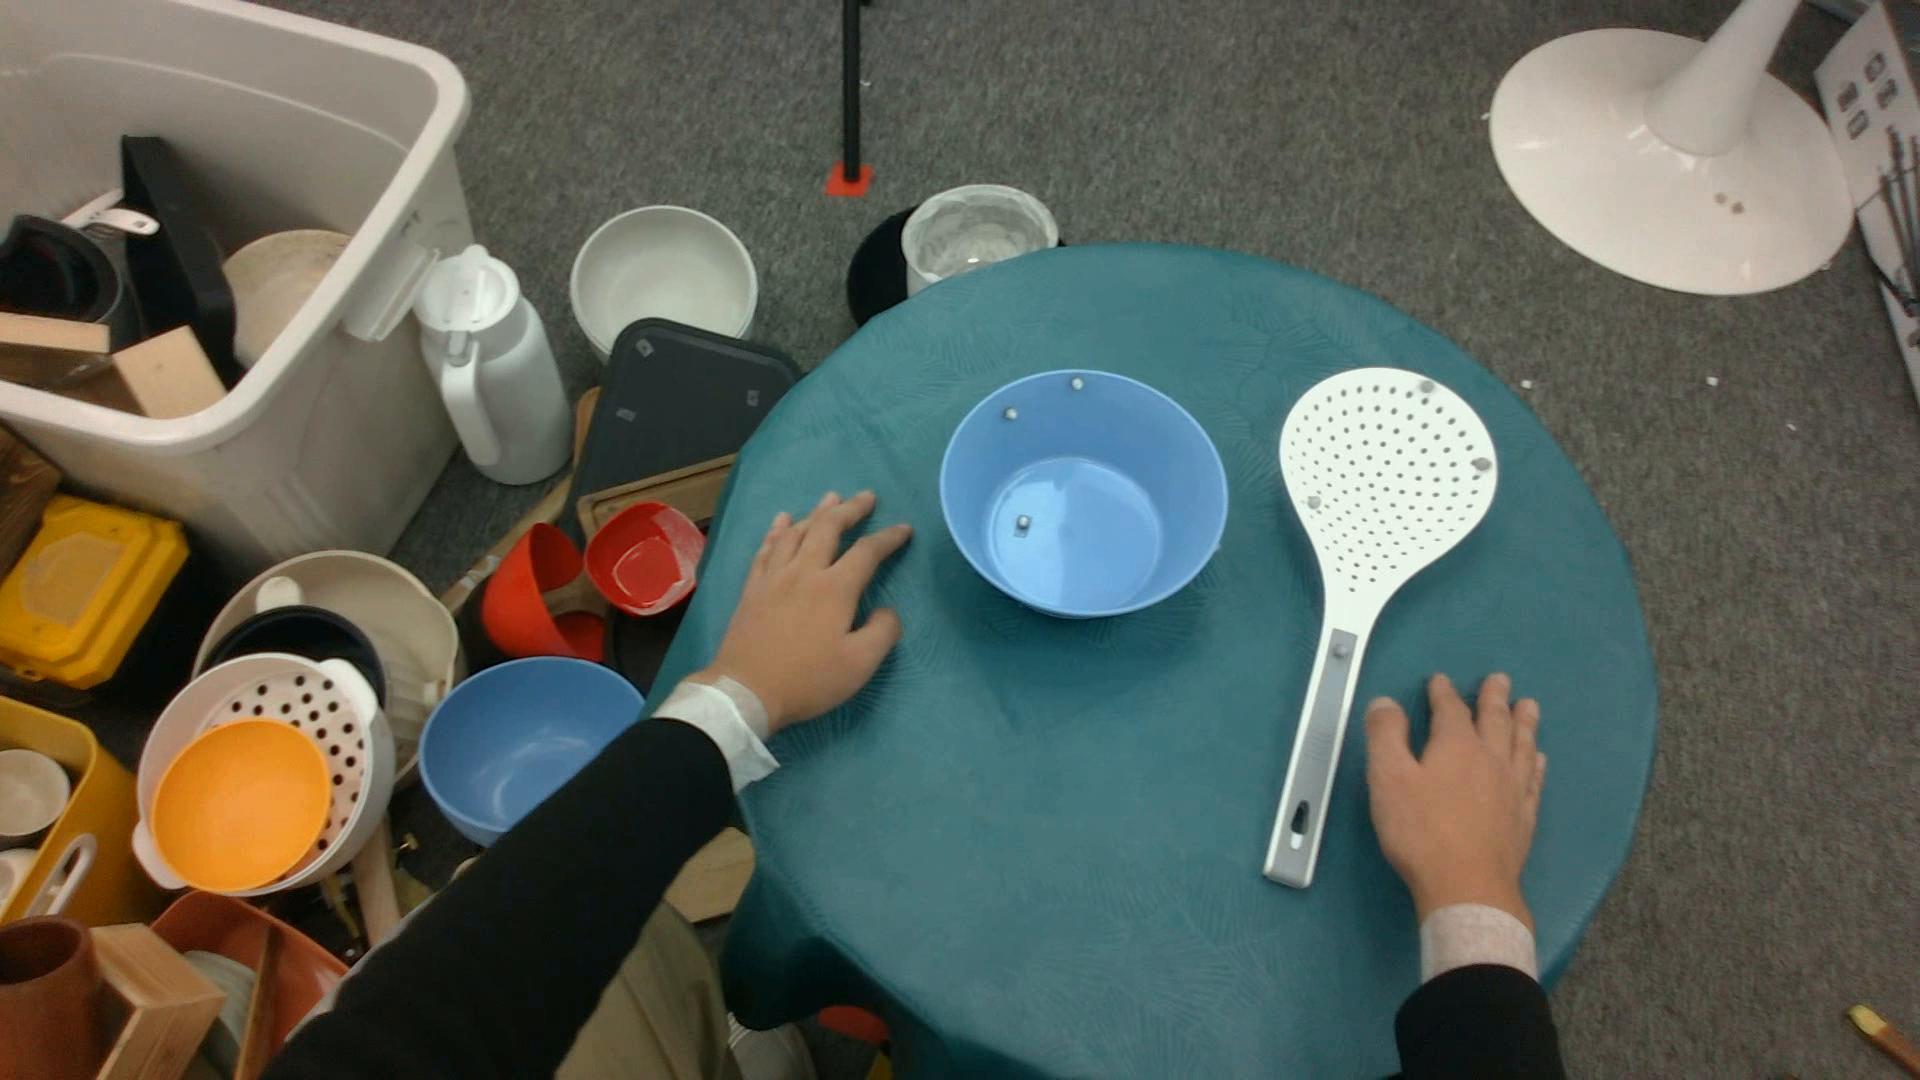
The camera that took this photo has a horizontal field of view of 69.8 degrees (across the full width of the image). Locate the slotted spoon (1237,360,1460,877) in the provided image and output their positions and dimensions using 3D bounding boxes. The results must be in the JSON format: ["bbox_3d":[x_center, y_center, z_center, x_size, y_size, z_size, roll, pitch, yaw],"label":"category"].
[{"bbox_3d":[0.224,0.038,0.855,0.136,0.045,0.351,17,62,5],"label":"slotted spoon"}]

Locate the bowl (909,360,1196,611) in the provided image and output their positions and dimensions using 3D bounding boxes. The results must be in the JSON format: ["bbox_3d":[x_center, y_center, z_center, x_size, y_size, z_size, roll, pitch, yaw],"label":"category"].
[{"bbox_3d":[0.055,-0.023,0.863,0.176,0.070,0.177,2,61,-3],"label":"bowl"}]
